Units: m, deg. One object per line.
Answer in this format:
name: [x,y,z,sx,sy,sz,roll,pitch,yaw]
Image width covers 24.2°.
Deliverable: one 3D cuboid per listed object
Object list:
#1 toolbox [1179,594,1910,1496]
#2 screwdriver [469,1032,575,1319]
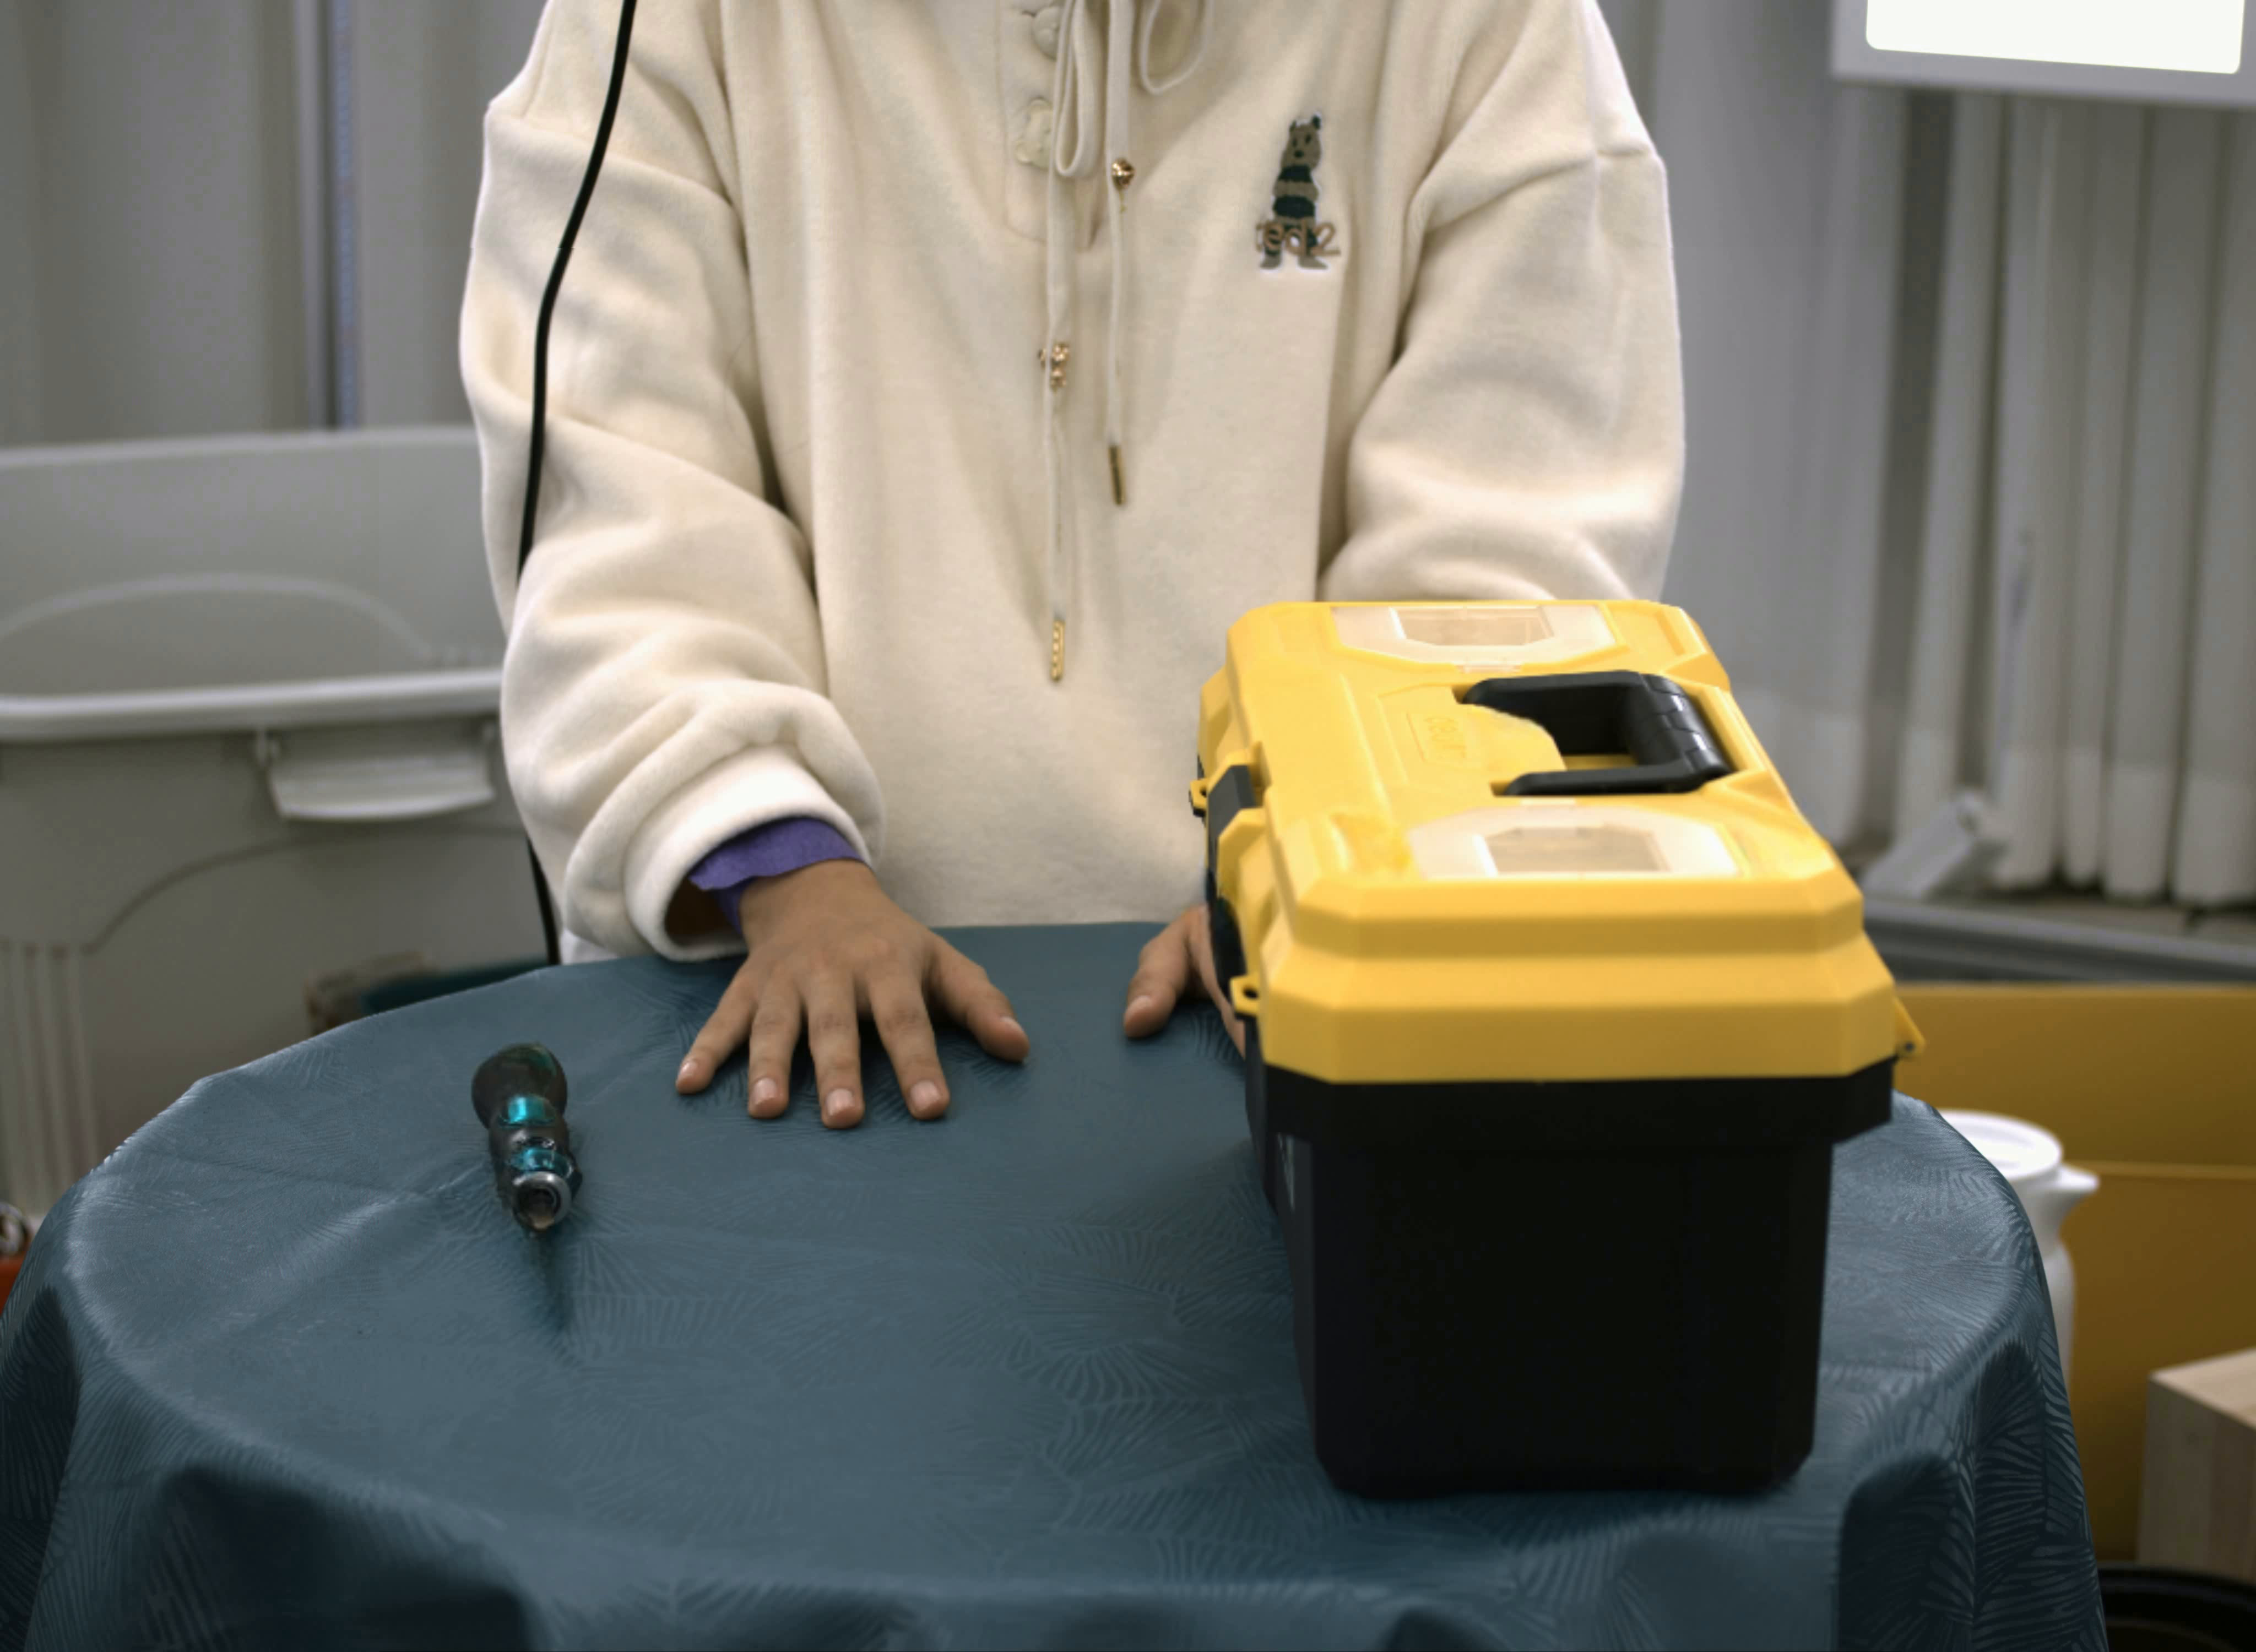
toolbox: [0.110,0.053,1.512,0.181,0.174,0.349,0,16,-2]
screwdriver: [-0.180,0.108,1.592,0.034,0.034,0.188,-2,20,-9]
